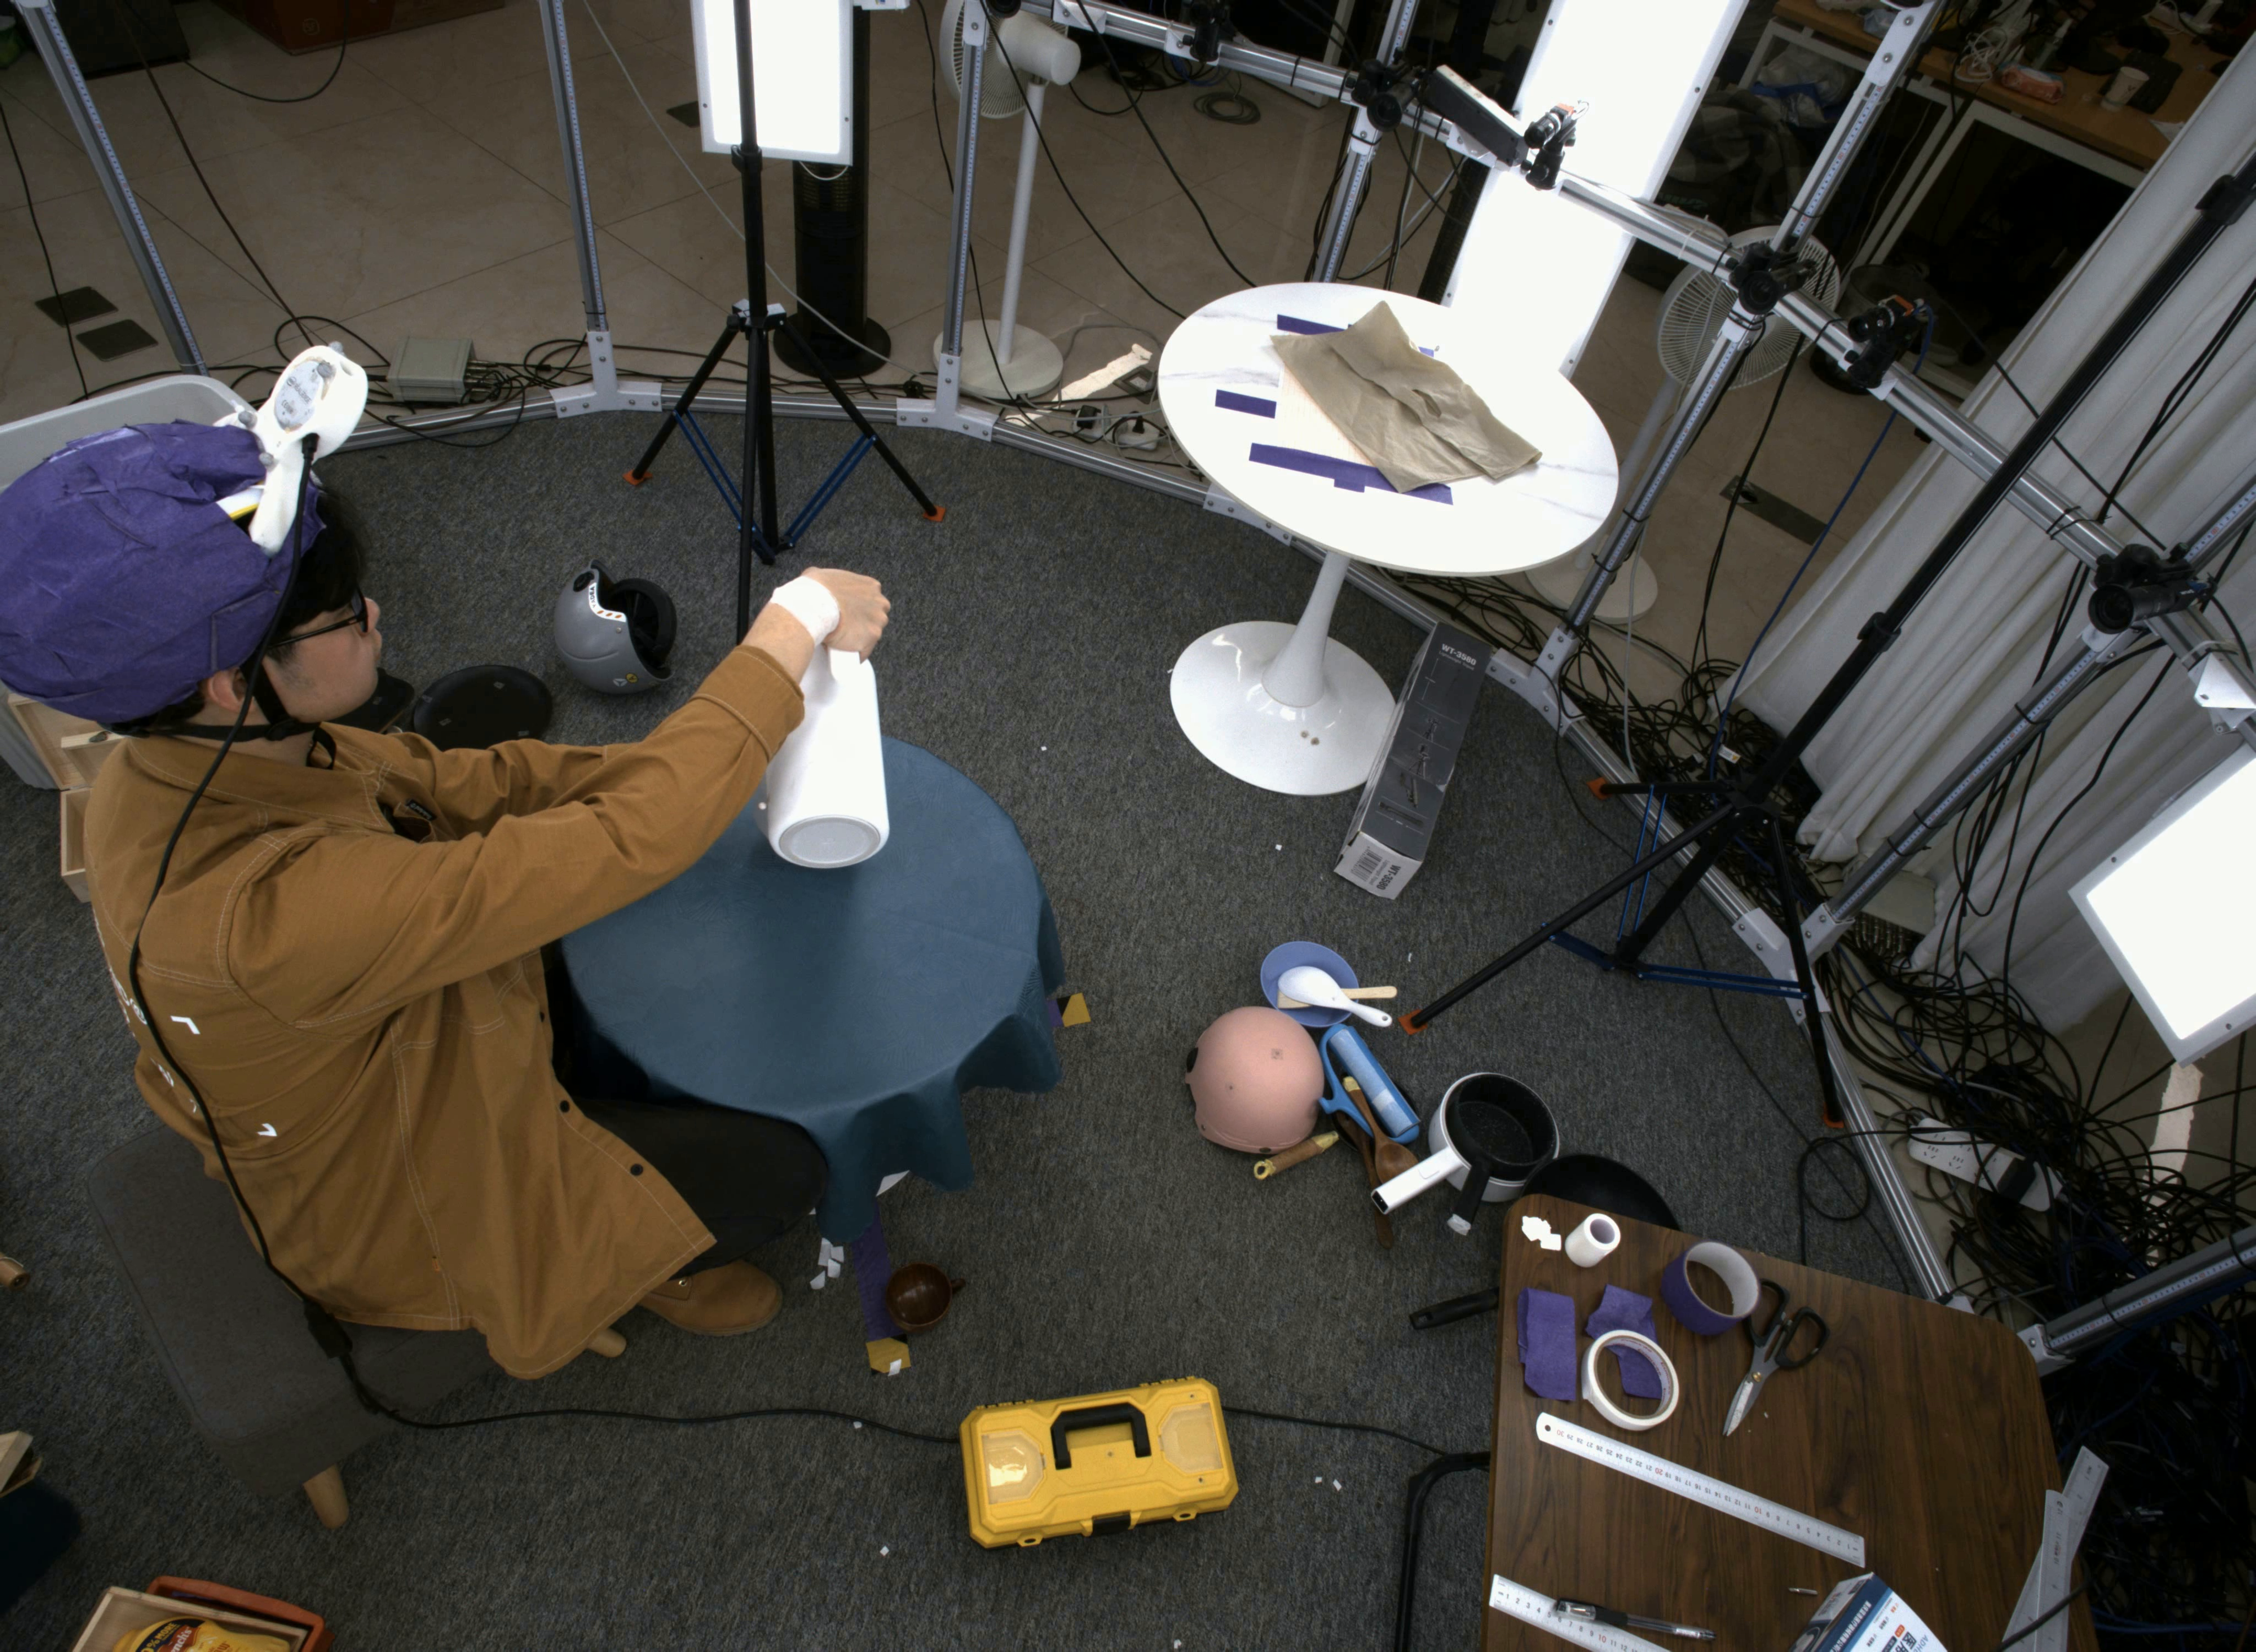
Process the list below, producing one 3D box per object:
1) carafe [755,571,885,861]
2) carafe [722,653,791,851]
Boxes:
[{"bbox_3d":[-0.308,-0.115,1.300,0.126,0.173,0.264,6,57,-26],"label":"carafe"},{"bbox_3d":[-0.409,-0.102,1.558,0.166,0.253,0.131,21,52,1],"label":"carafe"}]
